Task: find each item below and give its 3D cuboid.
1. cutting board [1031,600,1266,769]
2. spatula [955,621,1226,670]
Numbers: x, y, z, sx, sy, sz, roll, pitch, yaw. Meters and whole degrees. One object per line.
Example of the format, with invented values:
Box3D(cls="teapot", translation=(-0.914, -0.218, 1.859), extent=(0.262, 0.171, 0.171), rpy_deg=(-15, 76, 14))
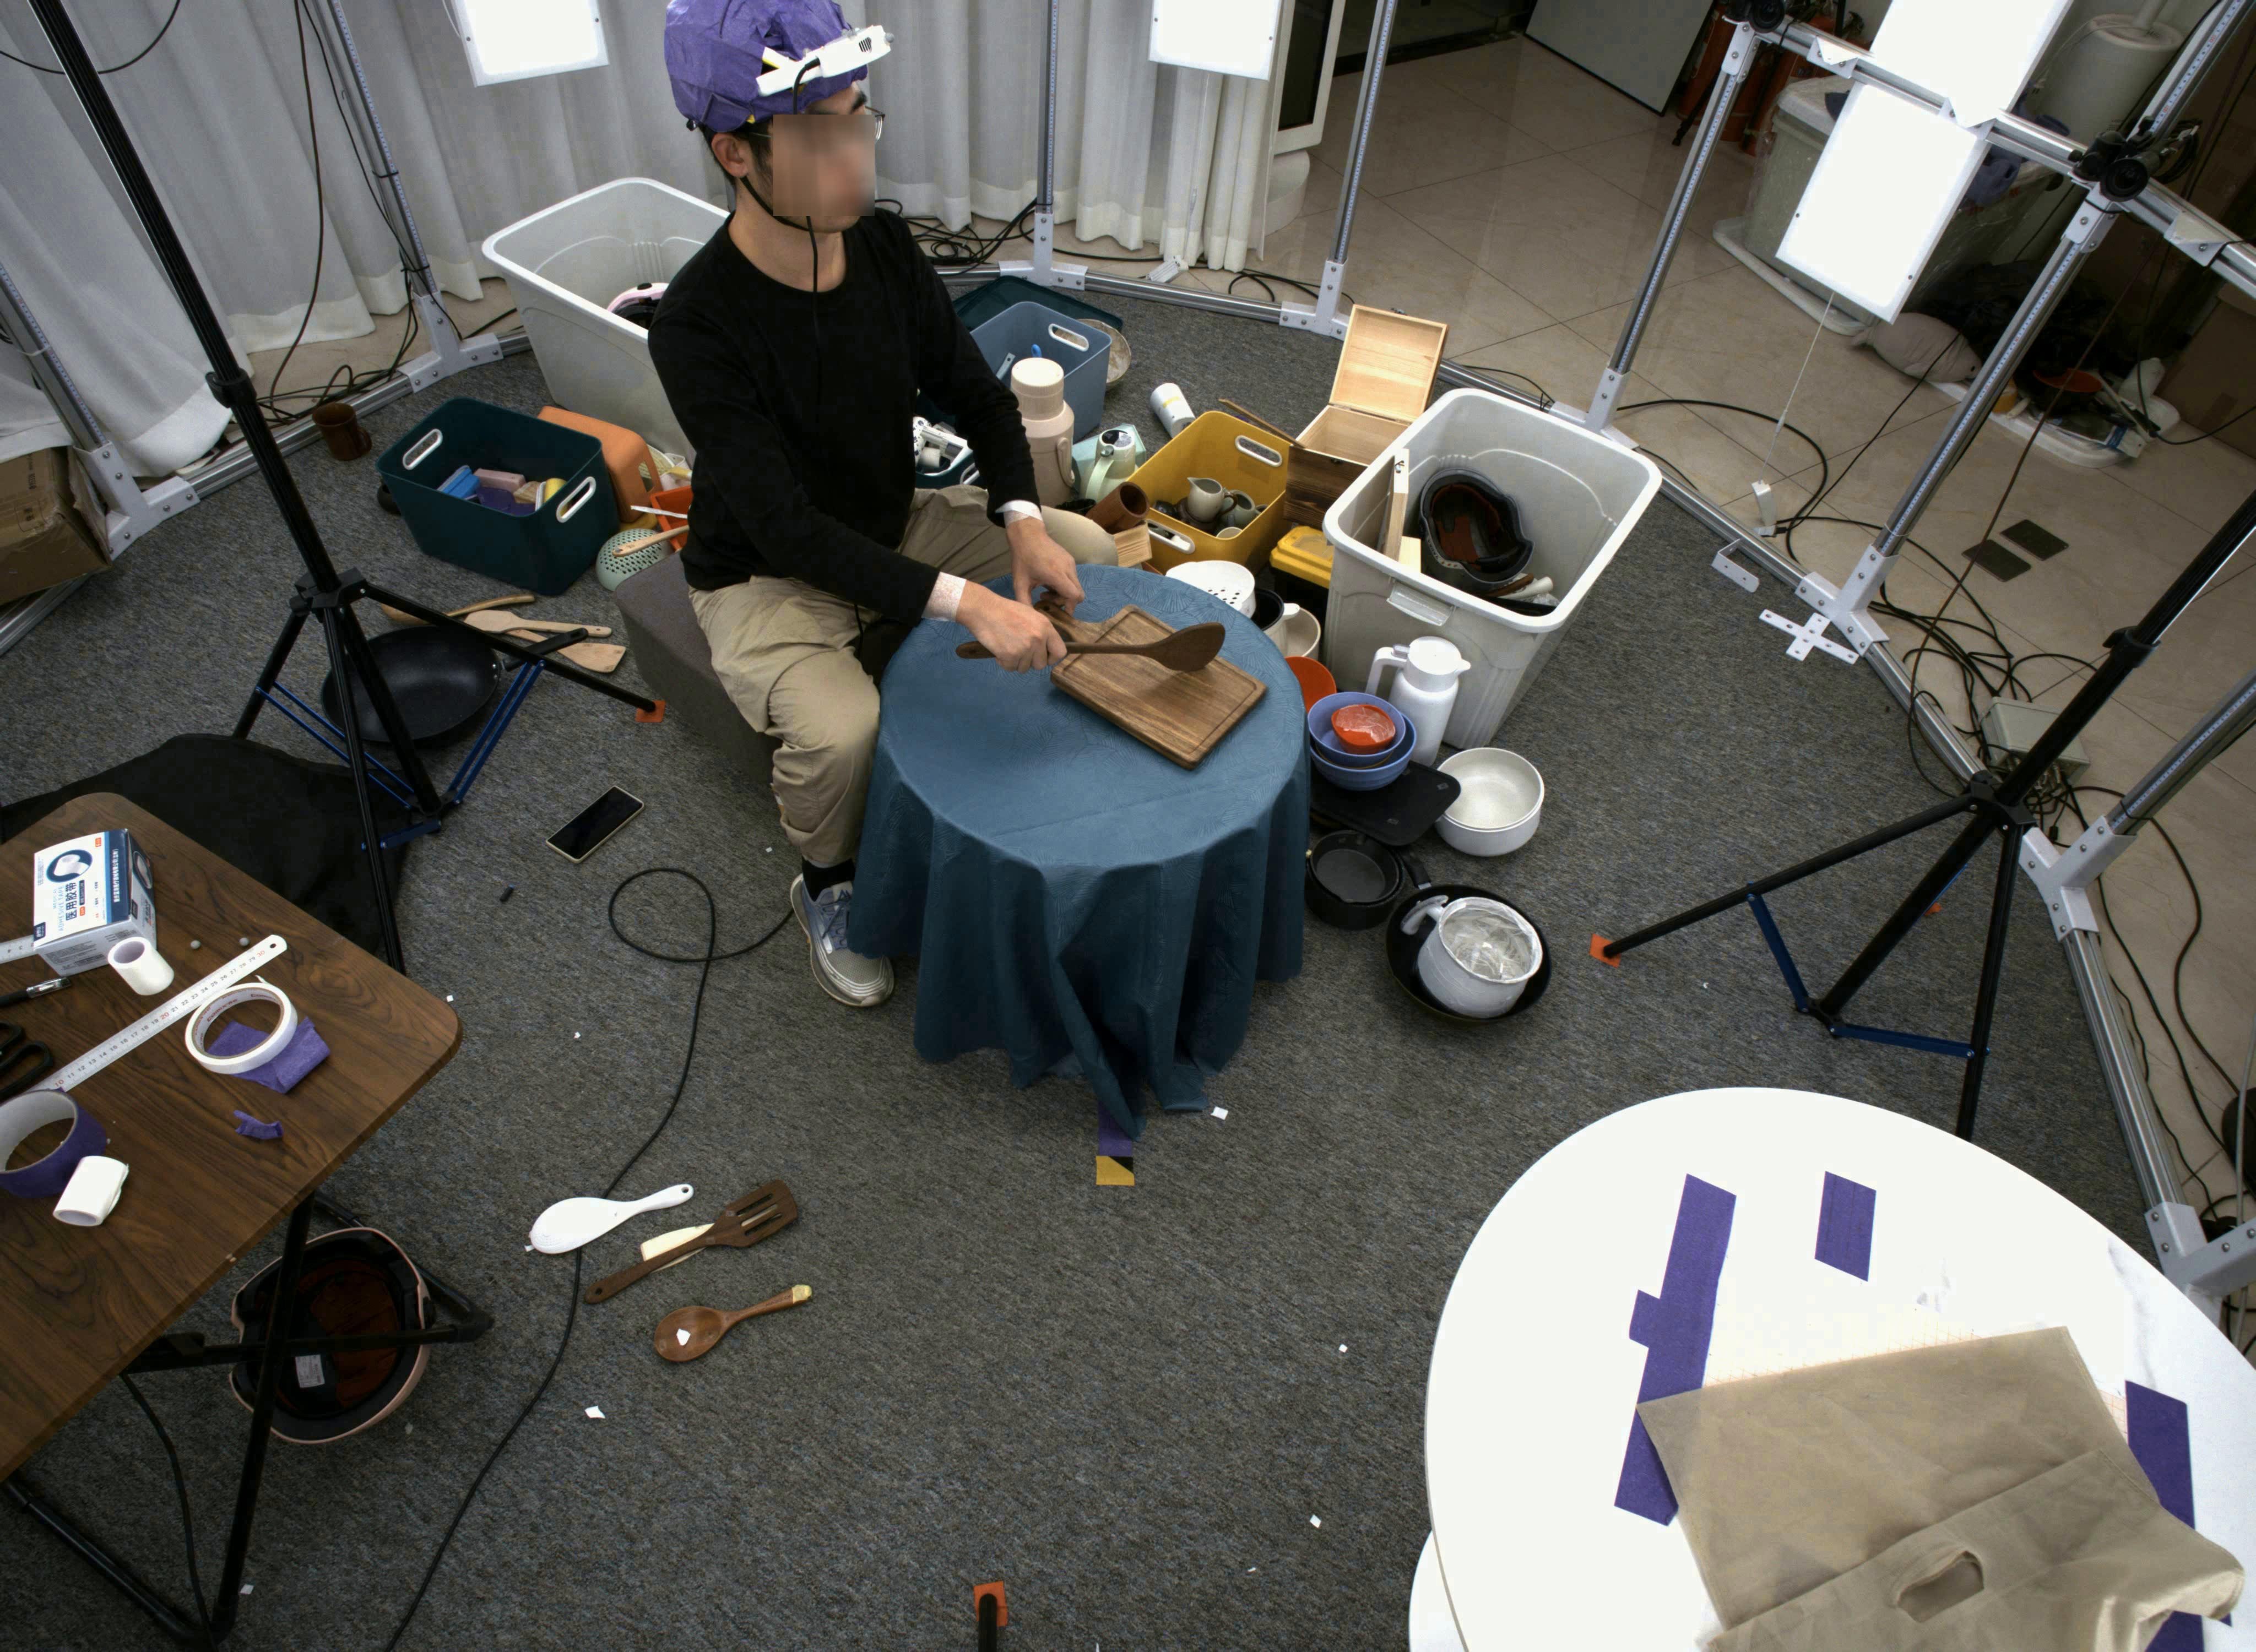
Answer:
Box3D(cls="cutting board", translation=(0.005, -0.230, 1.840), extent=(0.355, 0.022, 0.204), rpy_deg=(33, 55, 17))
Box3D(cls="spatula", translation=(-0.046, -0.244, 1.748), extent=(0.385, 0.094, 0.016), rpy_deg=(-3, 55, -20))
